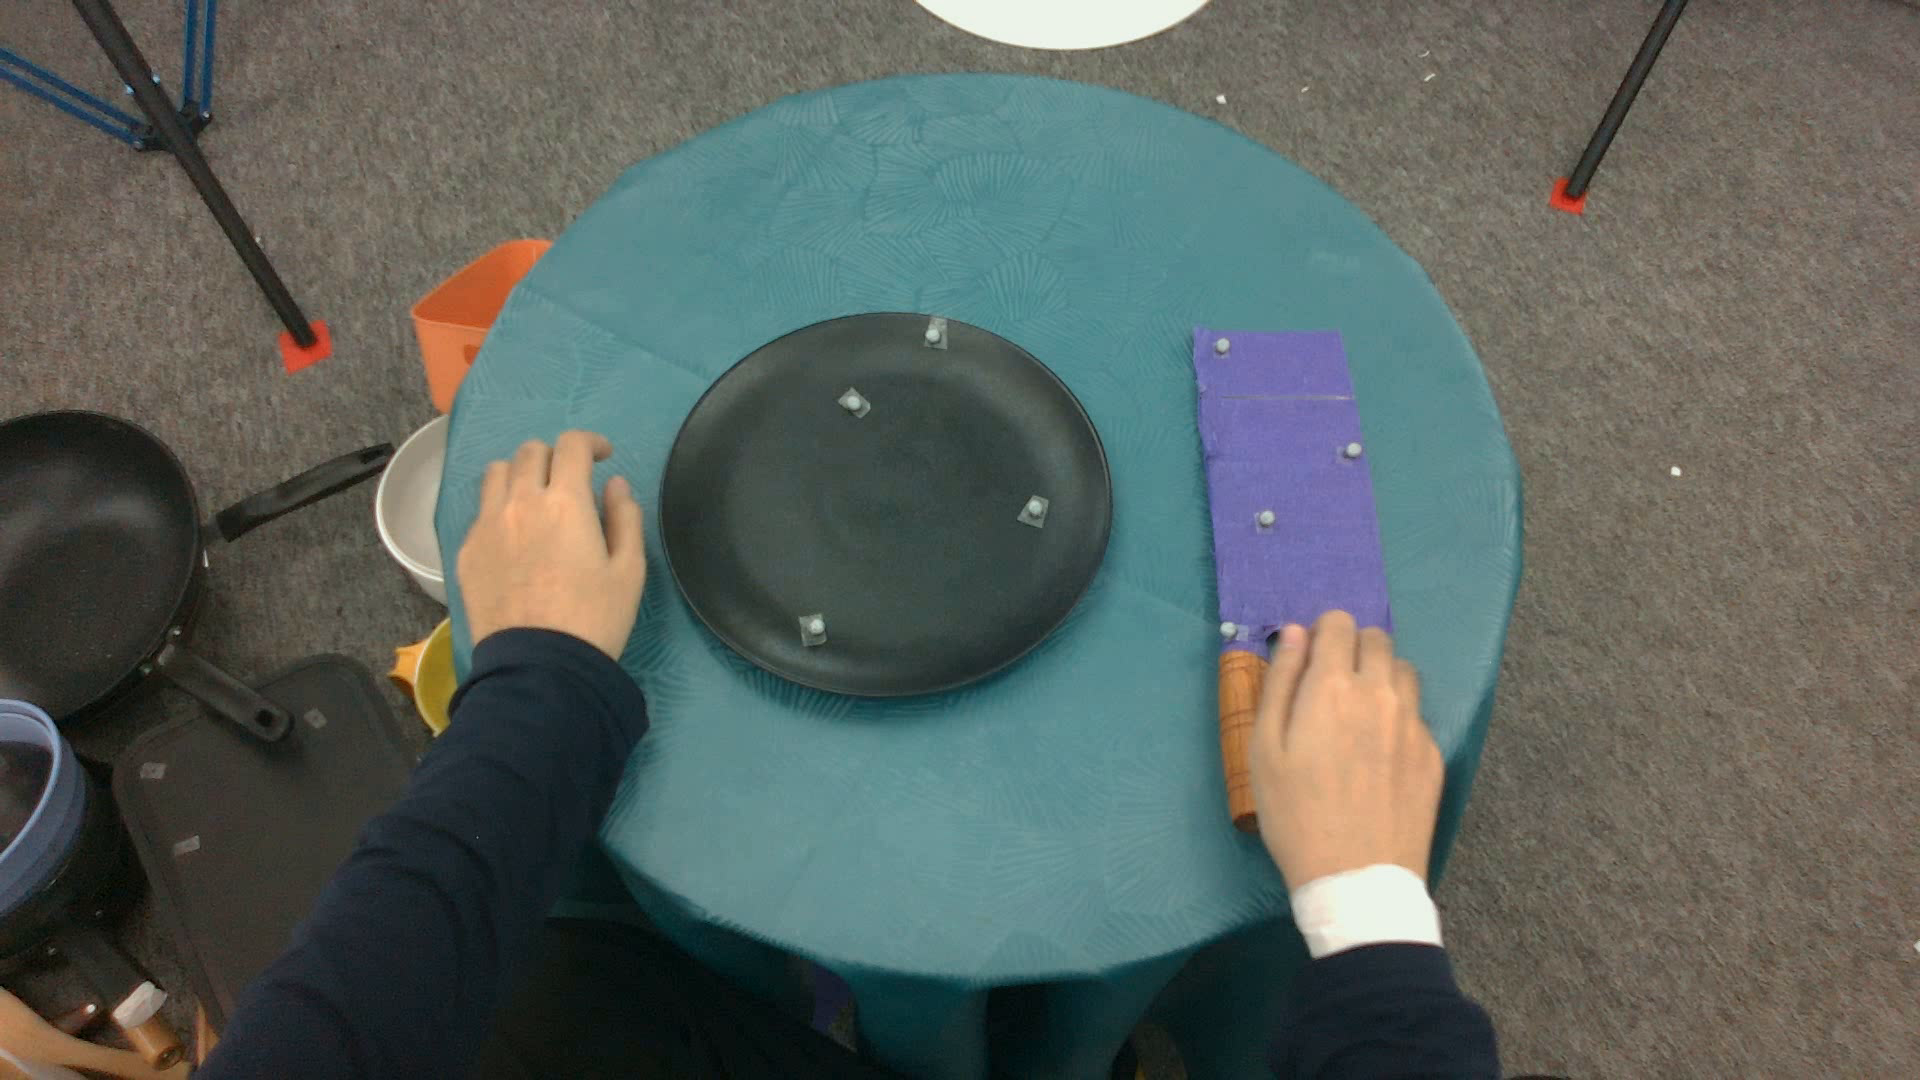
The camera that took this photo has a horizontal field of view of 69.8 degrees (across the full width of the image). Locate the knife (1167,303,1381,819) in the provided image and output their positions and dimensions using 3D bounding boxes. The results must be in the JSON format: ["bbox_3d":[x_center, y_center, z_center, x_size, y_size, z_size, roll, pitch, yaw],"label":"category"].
[{"bbox_3d":[0.174,-0.006,0.735,0.104,0.032,0.316,1,59,-1],"label":"knife"}]

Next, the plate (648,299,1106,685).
[{"bbox_3d":[-0.044,-0.029,0.743,0.244,0.023,0.245,1,60,-1],"label":"plate"}]
